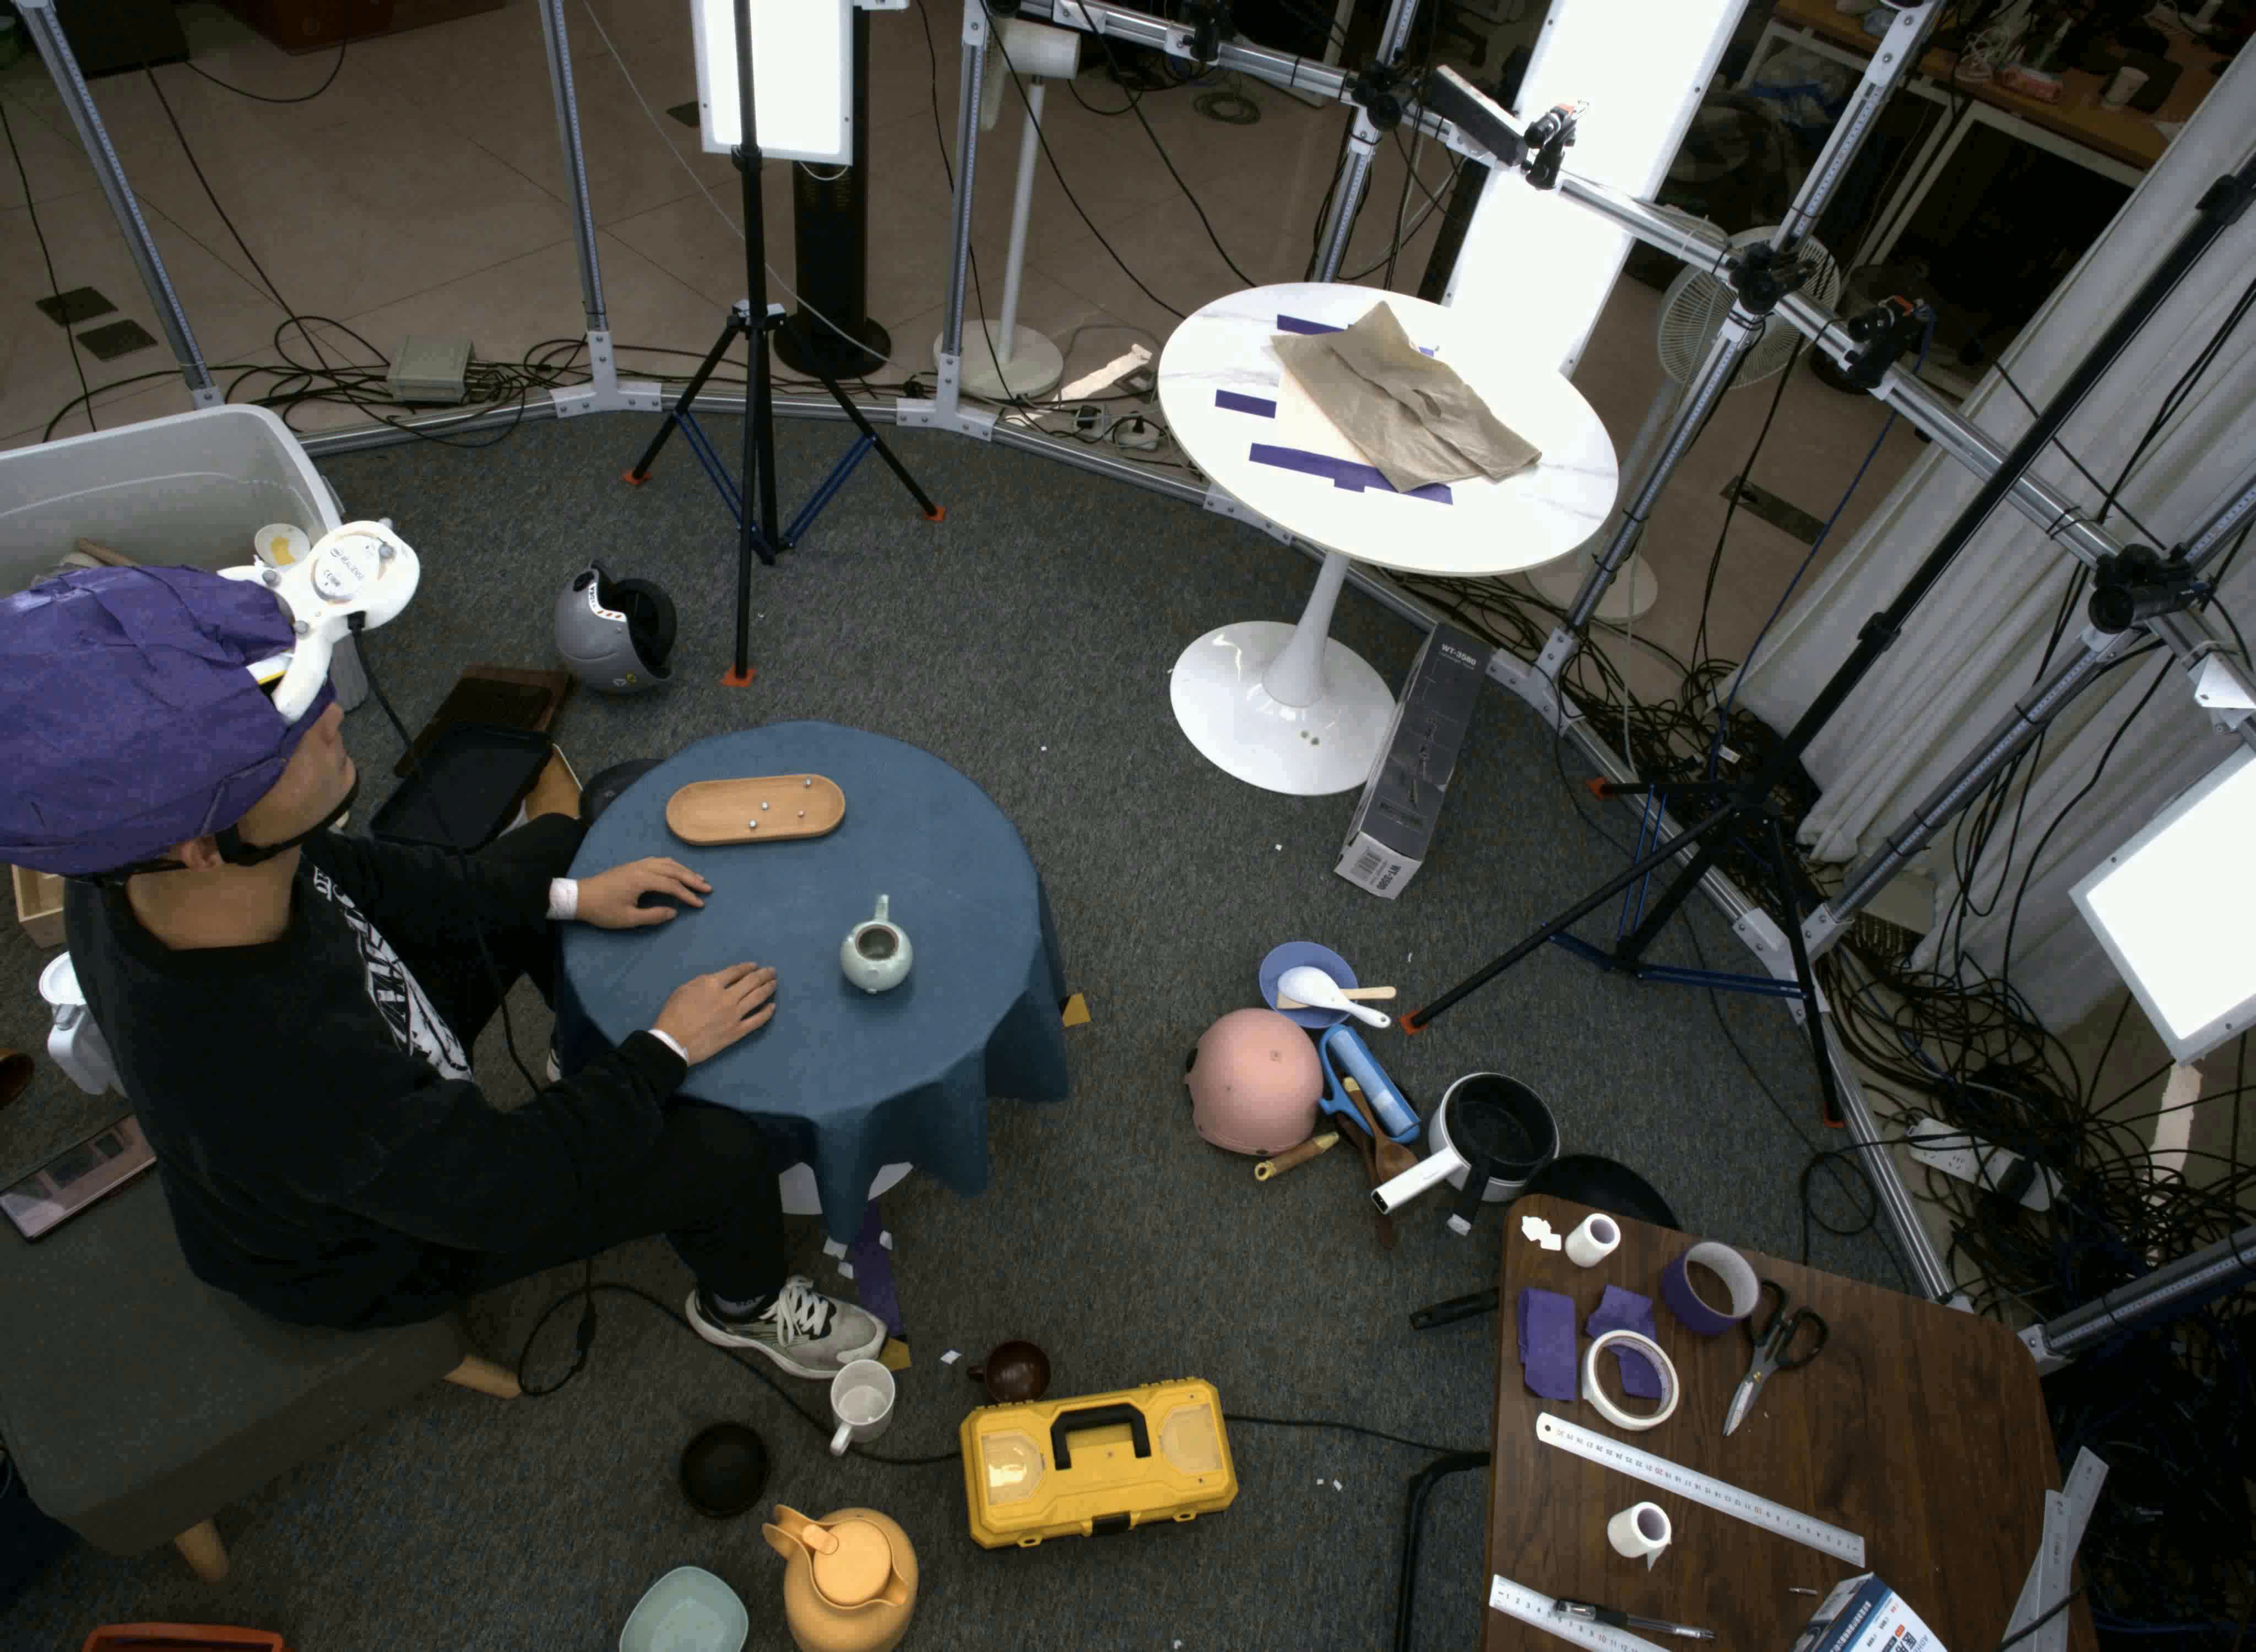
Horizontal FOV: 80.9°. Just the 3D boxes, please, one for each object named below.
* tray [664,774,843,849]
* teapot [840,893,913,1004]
[{"bbox_3d":[-0.494,-0.020,1.708,0.232,0.021,0.099,-7,54,-17],"label":"tray"},{"bbox_3d":[-0.308,0.156,1.588,0.088,0.076,0.141,8,50,-7],"label":"teapot"}]
